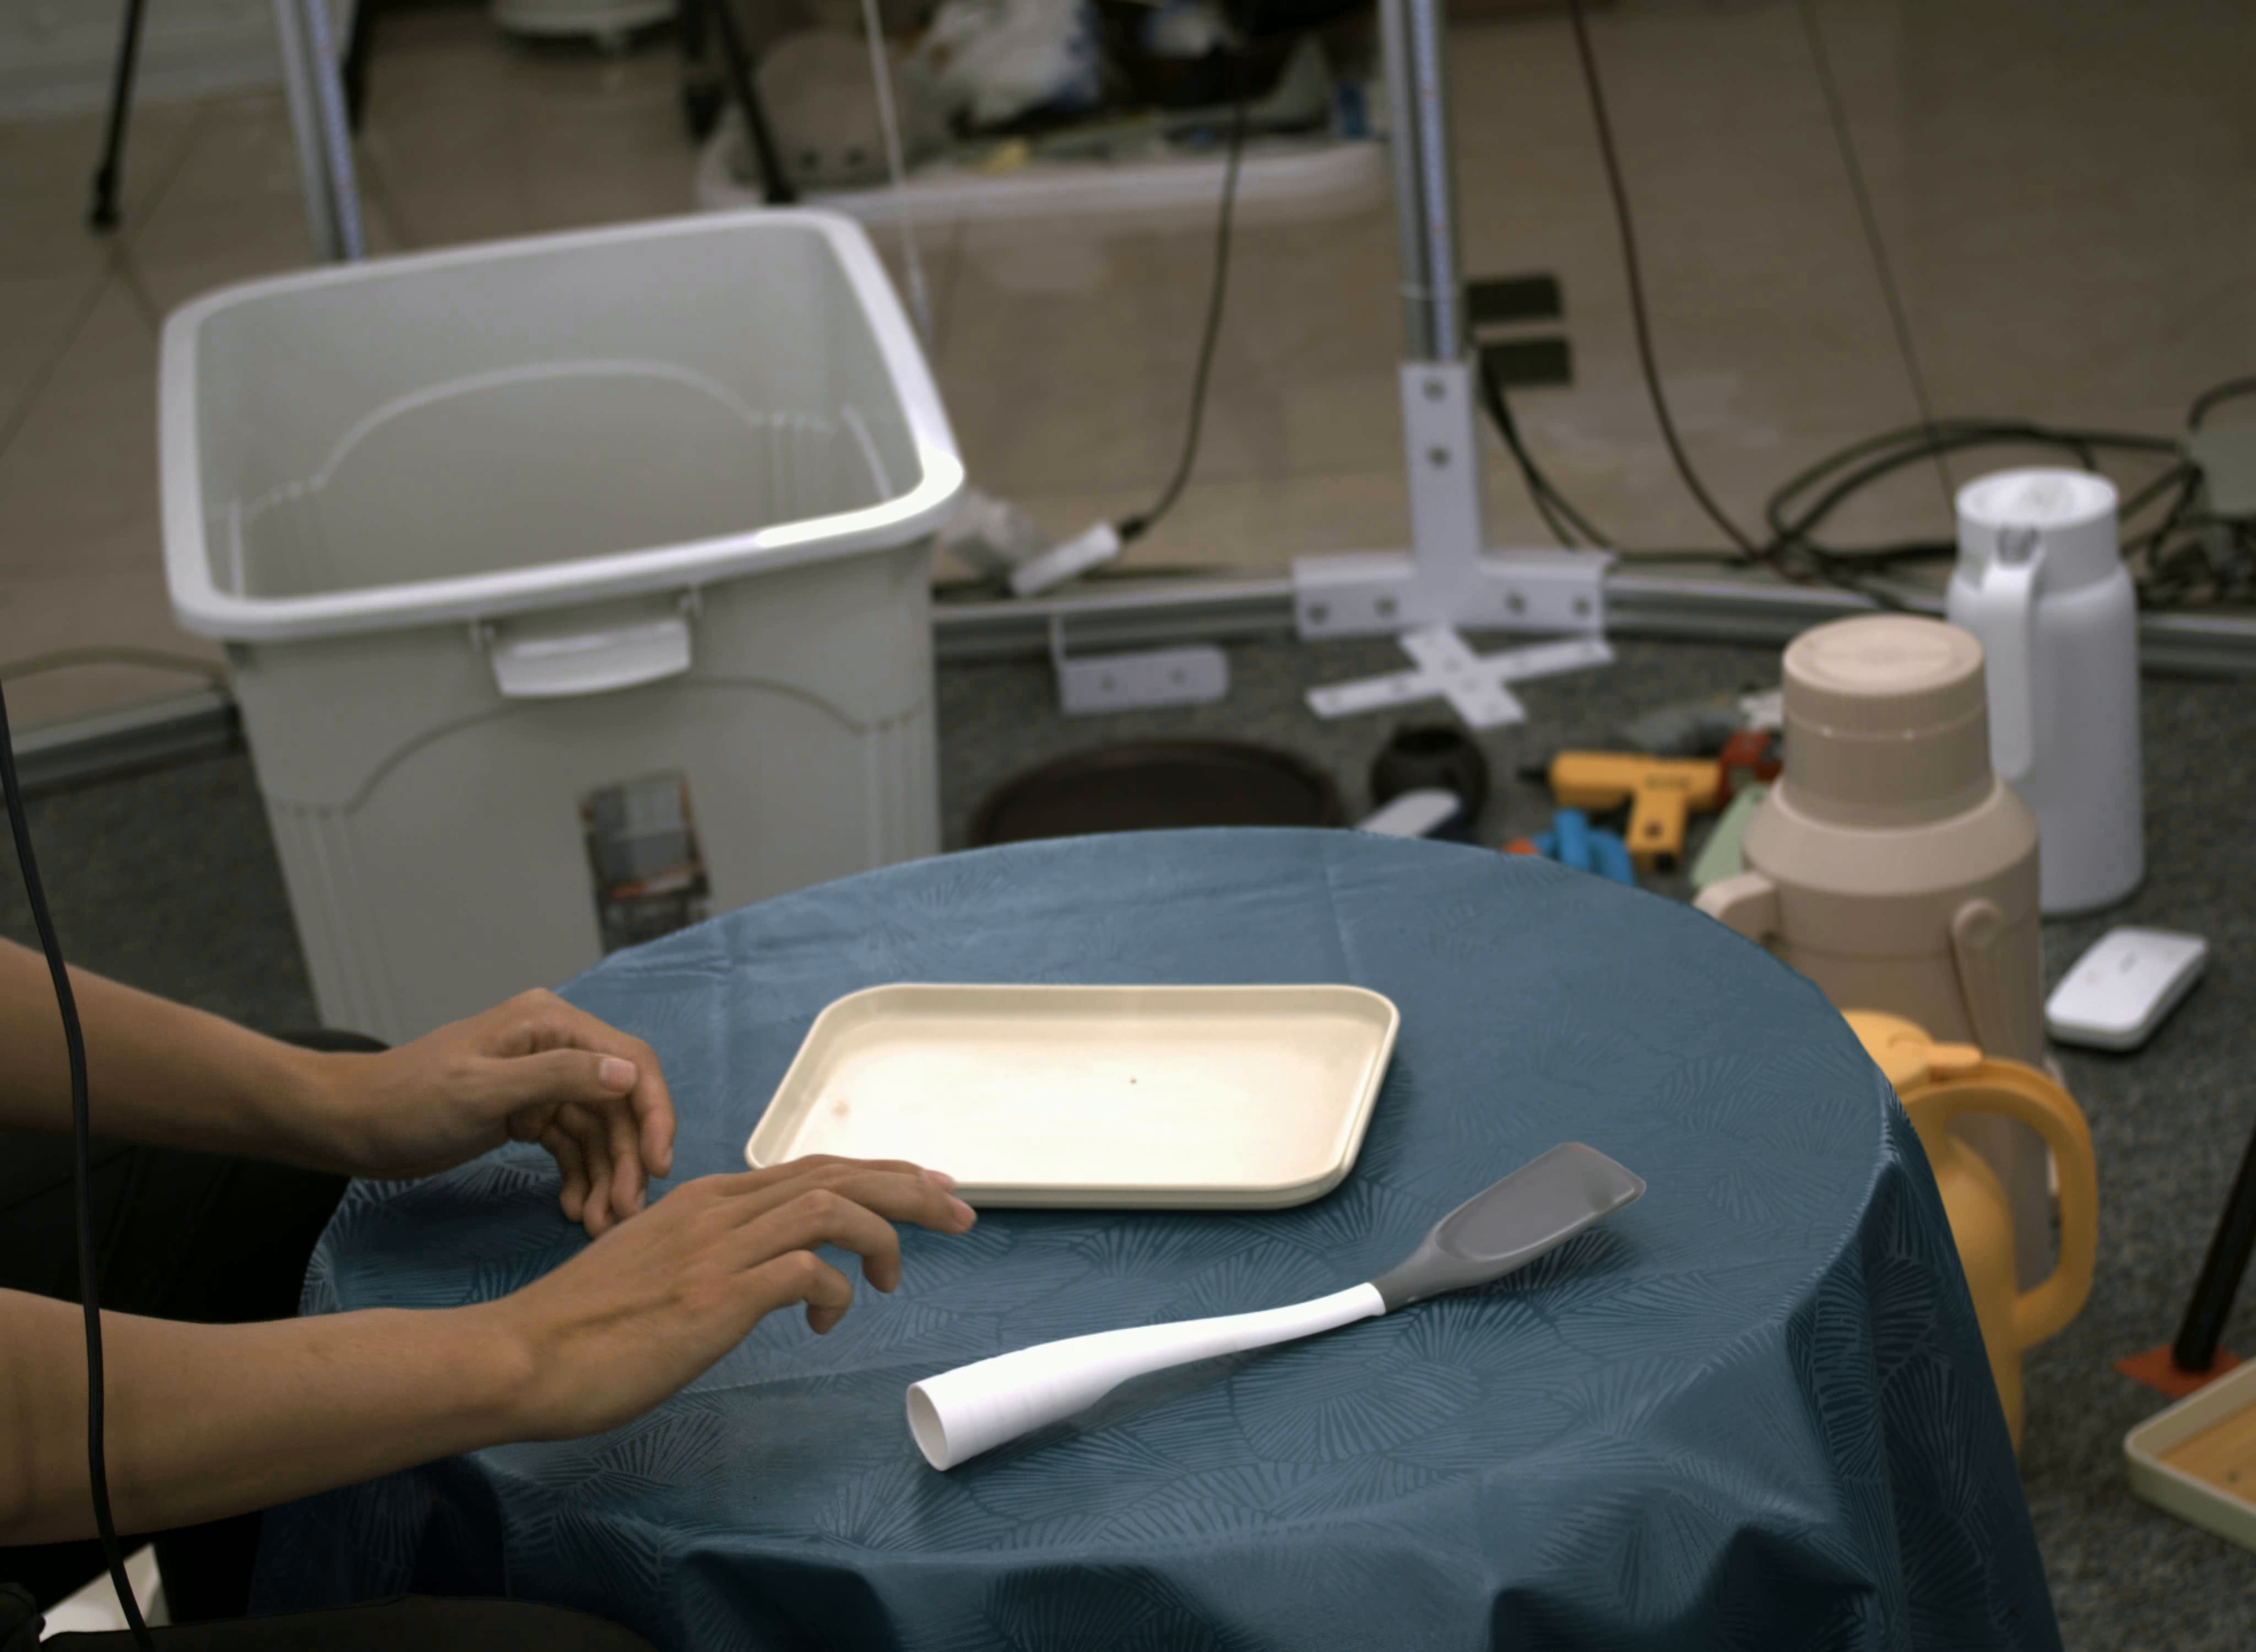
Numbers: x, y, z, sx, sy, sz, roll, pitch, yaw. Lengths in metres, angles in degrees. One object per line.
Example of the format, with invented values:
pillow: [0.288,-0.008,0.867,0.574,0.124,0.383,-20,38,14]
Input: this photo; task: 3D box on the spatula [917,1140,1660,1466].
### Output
spatula: [0.058,0.170,2.031,0.286,0.032,0.058,-17,23,-23]

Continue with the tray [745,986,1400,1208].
tray: [-0.019,0.106,2.207,0.239,0.018,0.169,0,24,13]
